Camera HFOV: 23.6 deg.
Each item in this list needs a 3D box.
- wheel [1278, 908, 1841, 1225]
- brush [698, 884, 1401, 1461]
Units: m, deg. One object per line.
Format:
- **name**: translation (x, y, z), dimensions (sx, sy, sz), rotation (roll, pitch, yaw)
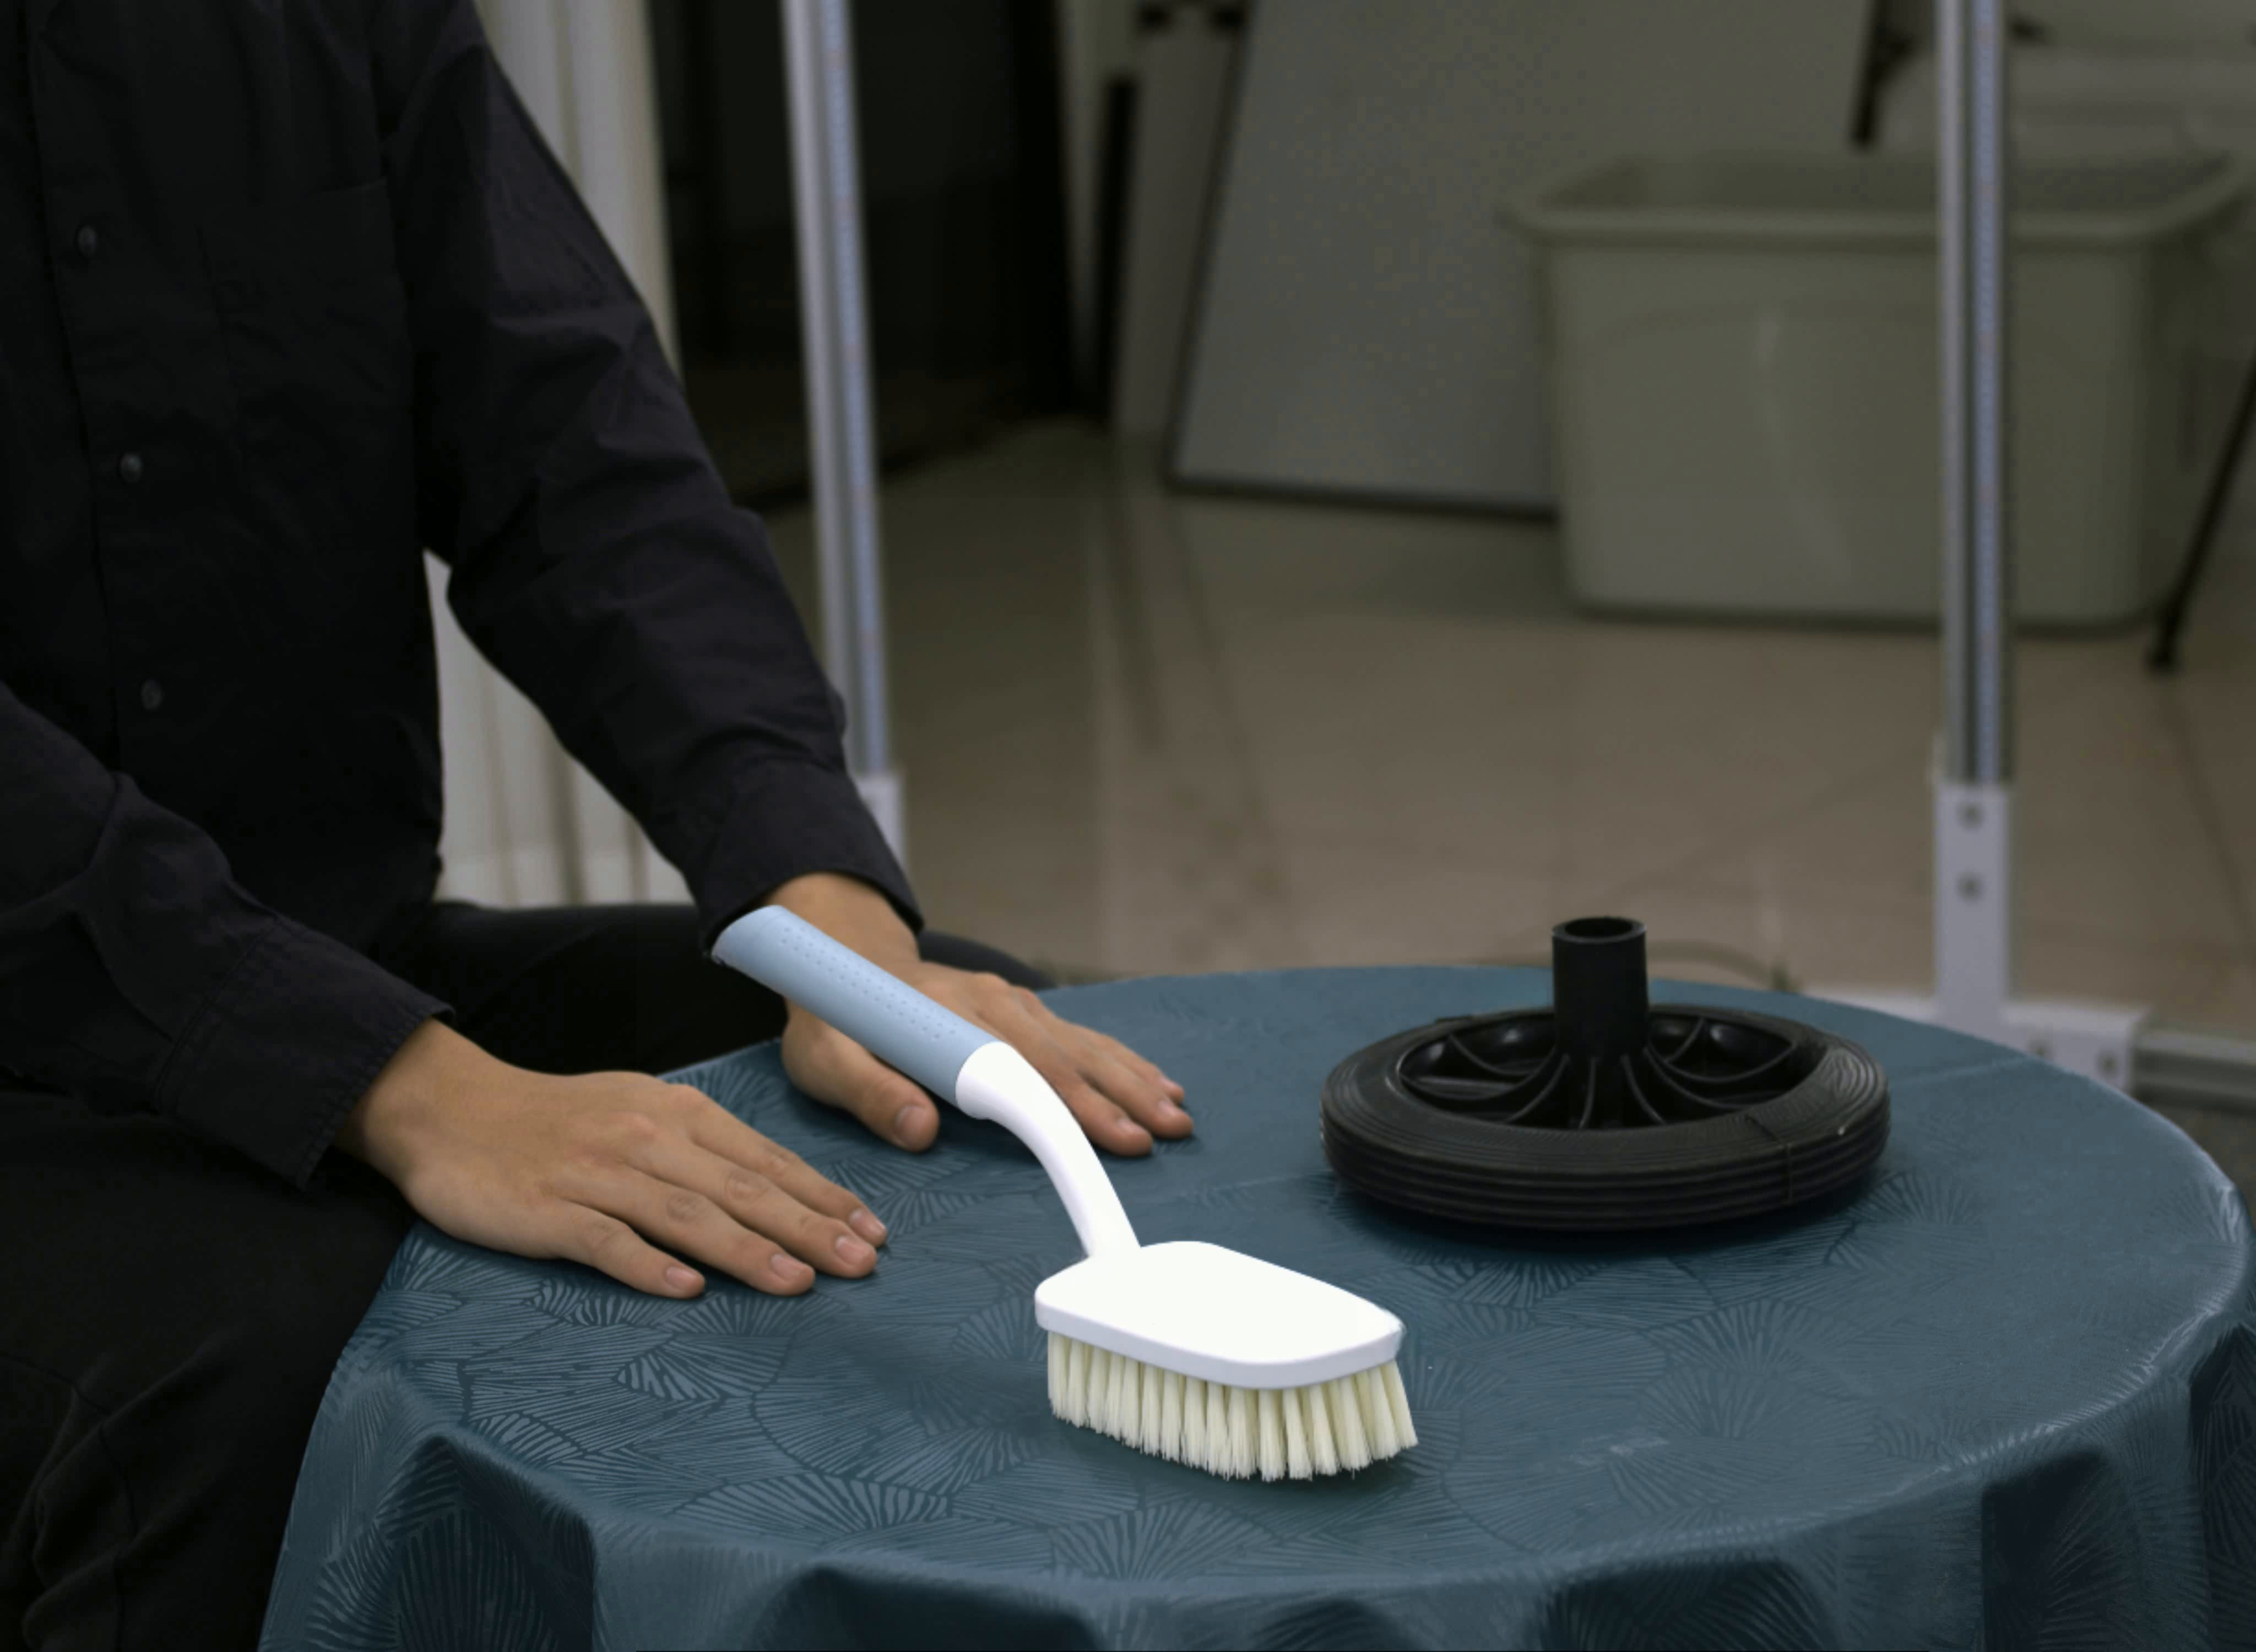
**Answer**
- **wheel**: translation (0.140, 0.070, 1.765), dimensions (0.187, 0.080, 0.187), rotation (3, 17, 25)
- **brush**: translation (-0.029, 0.116, 1.621), dimensions (0.329, 0.085, 0.082), rotation (30, -3, 45)
